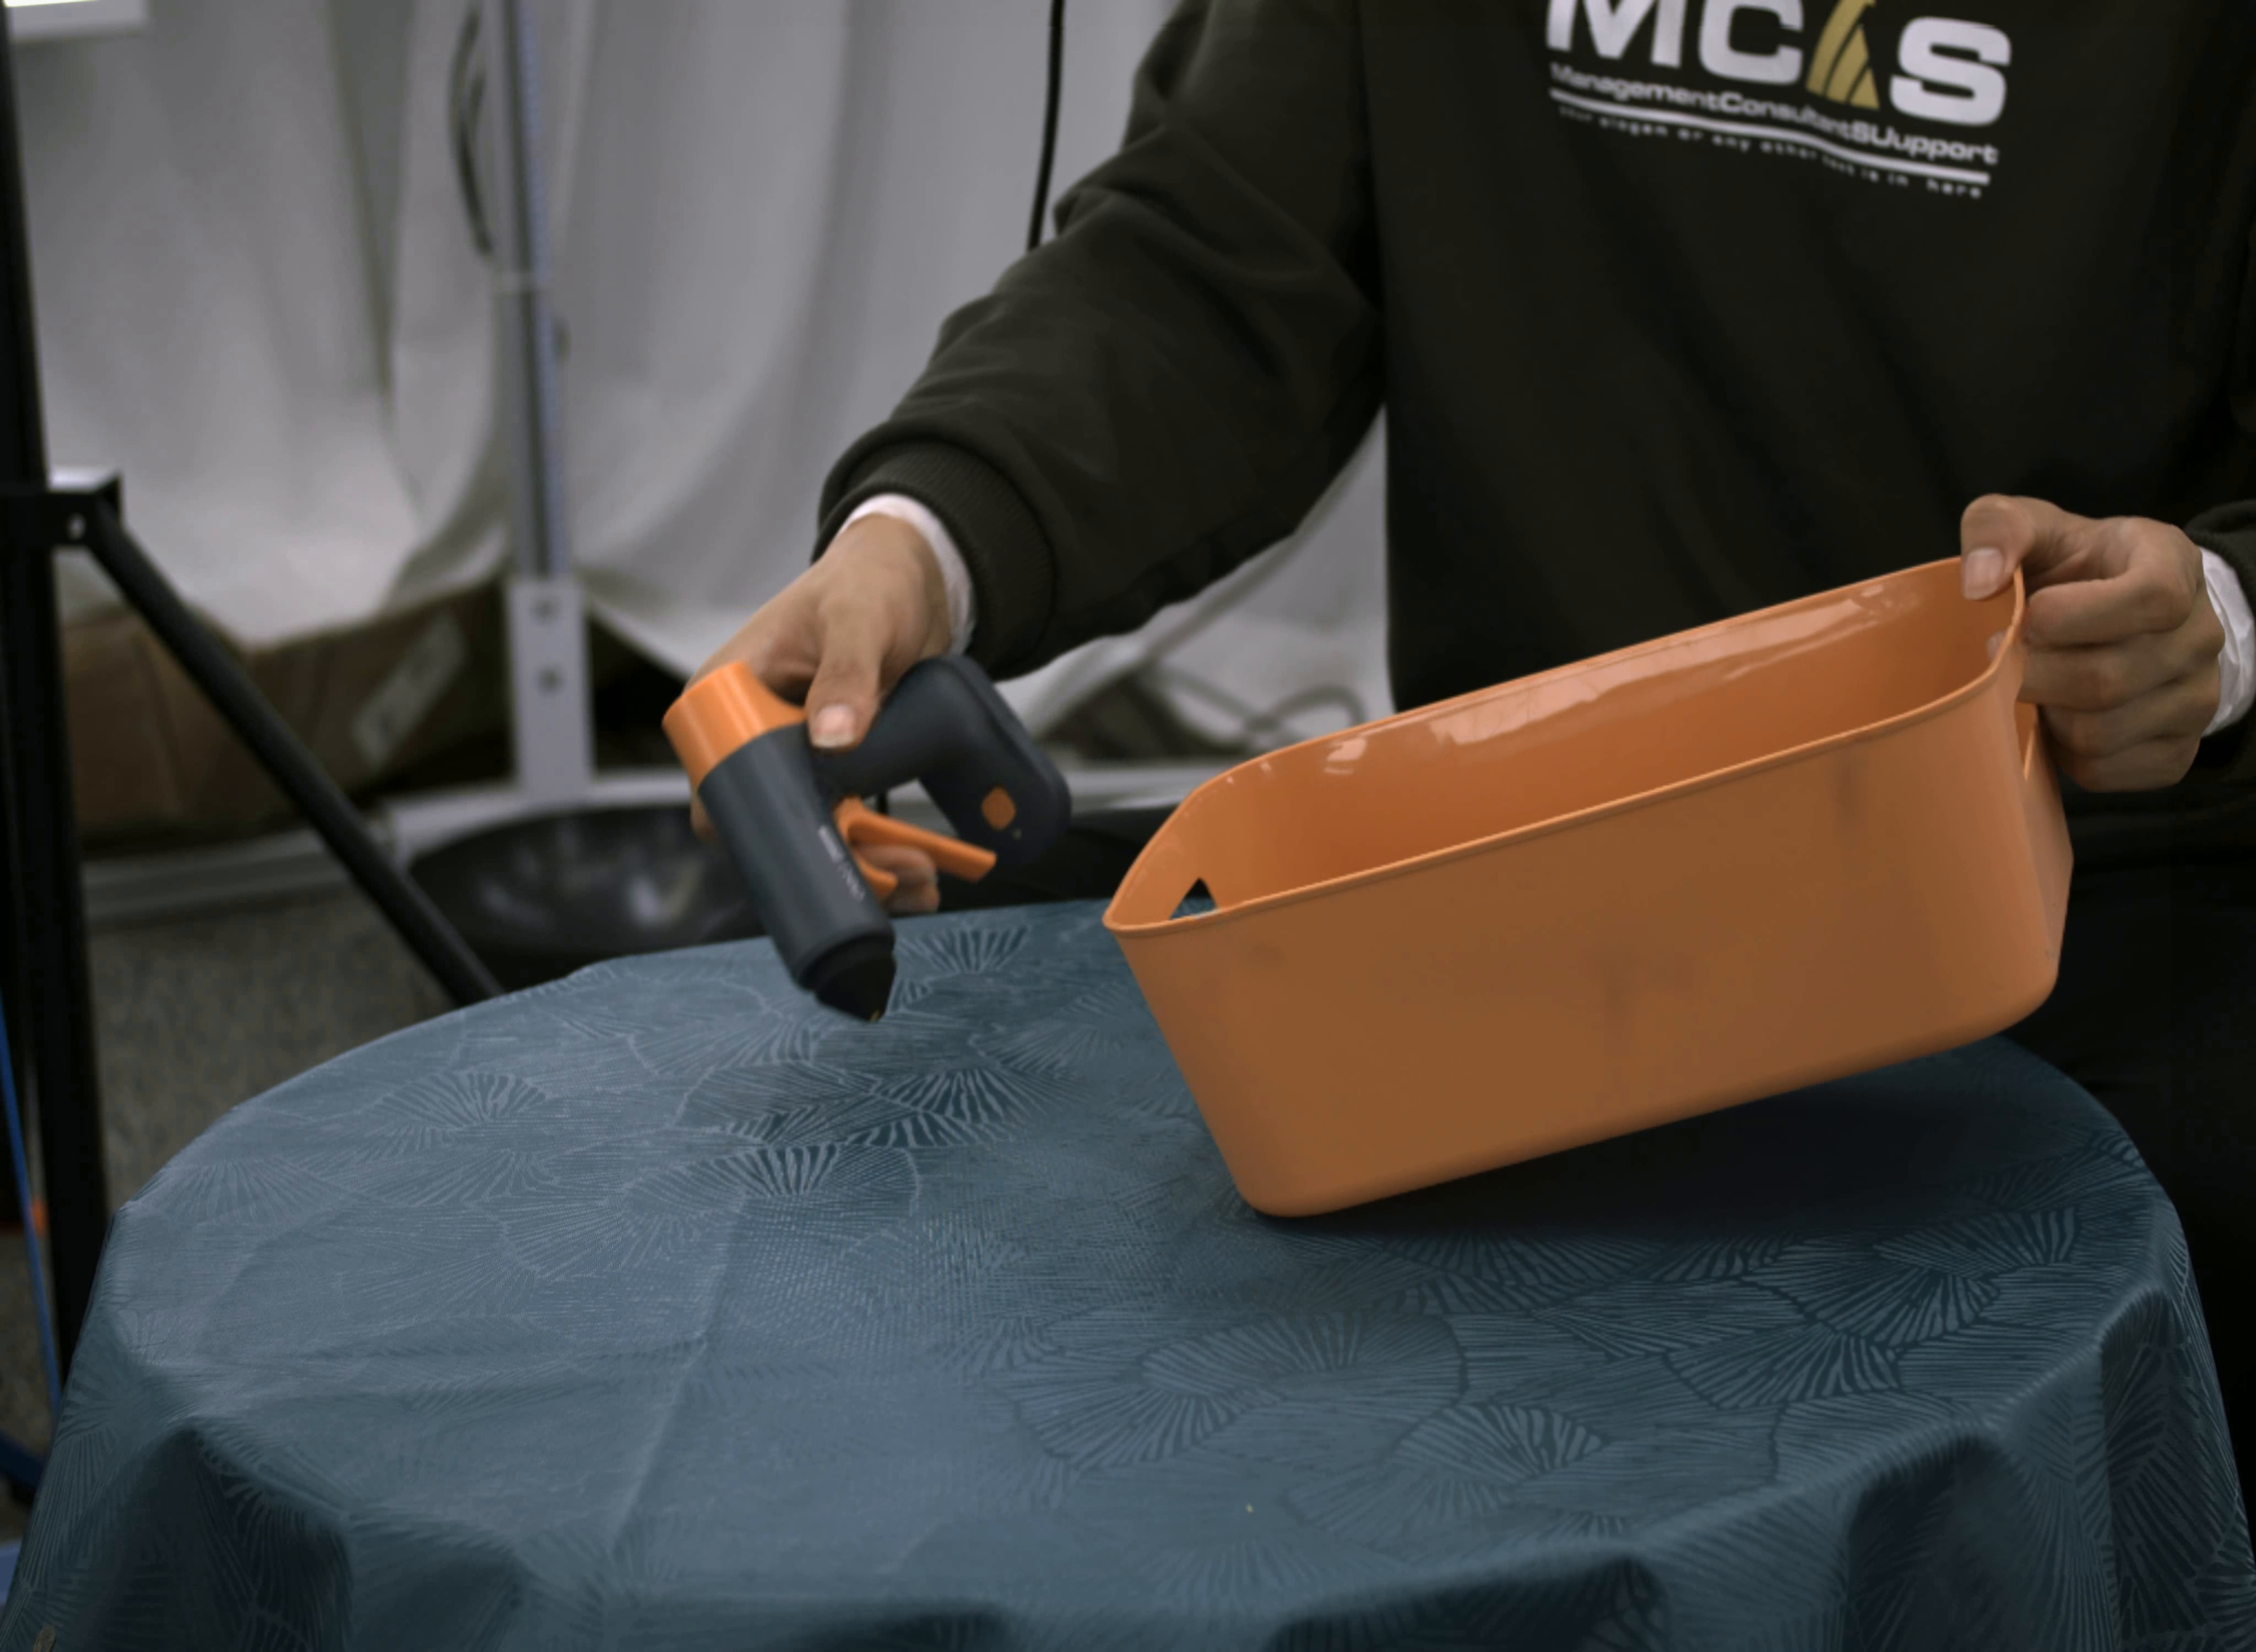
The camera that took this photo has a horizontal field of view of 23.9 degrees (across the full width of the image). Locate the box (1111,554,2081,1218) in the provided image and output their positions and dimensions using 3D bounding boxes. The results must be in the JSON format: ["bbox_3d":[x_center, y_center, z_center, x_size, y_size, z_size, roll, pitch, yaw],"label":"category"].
[{"bbox_3d":[0.146,0.019,1.551,0.275,0.102,0.198,-16,11,17],"label":"box"}]

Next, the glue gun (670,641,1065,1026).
[{"bbox_3d":[-0.078,-0.003,1.637,0.041,0.119,0.137,-41,-10,33],"label":"glue gun"}]
